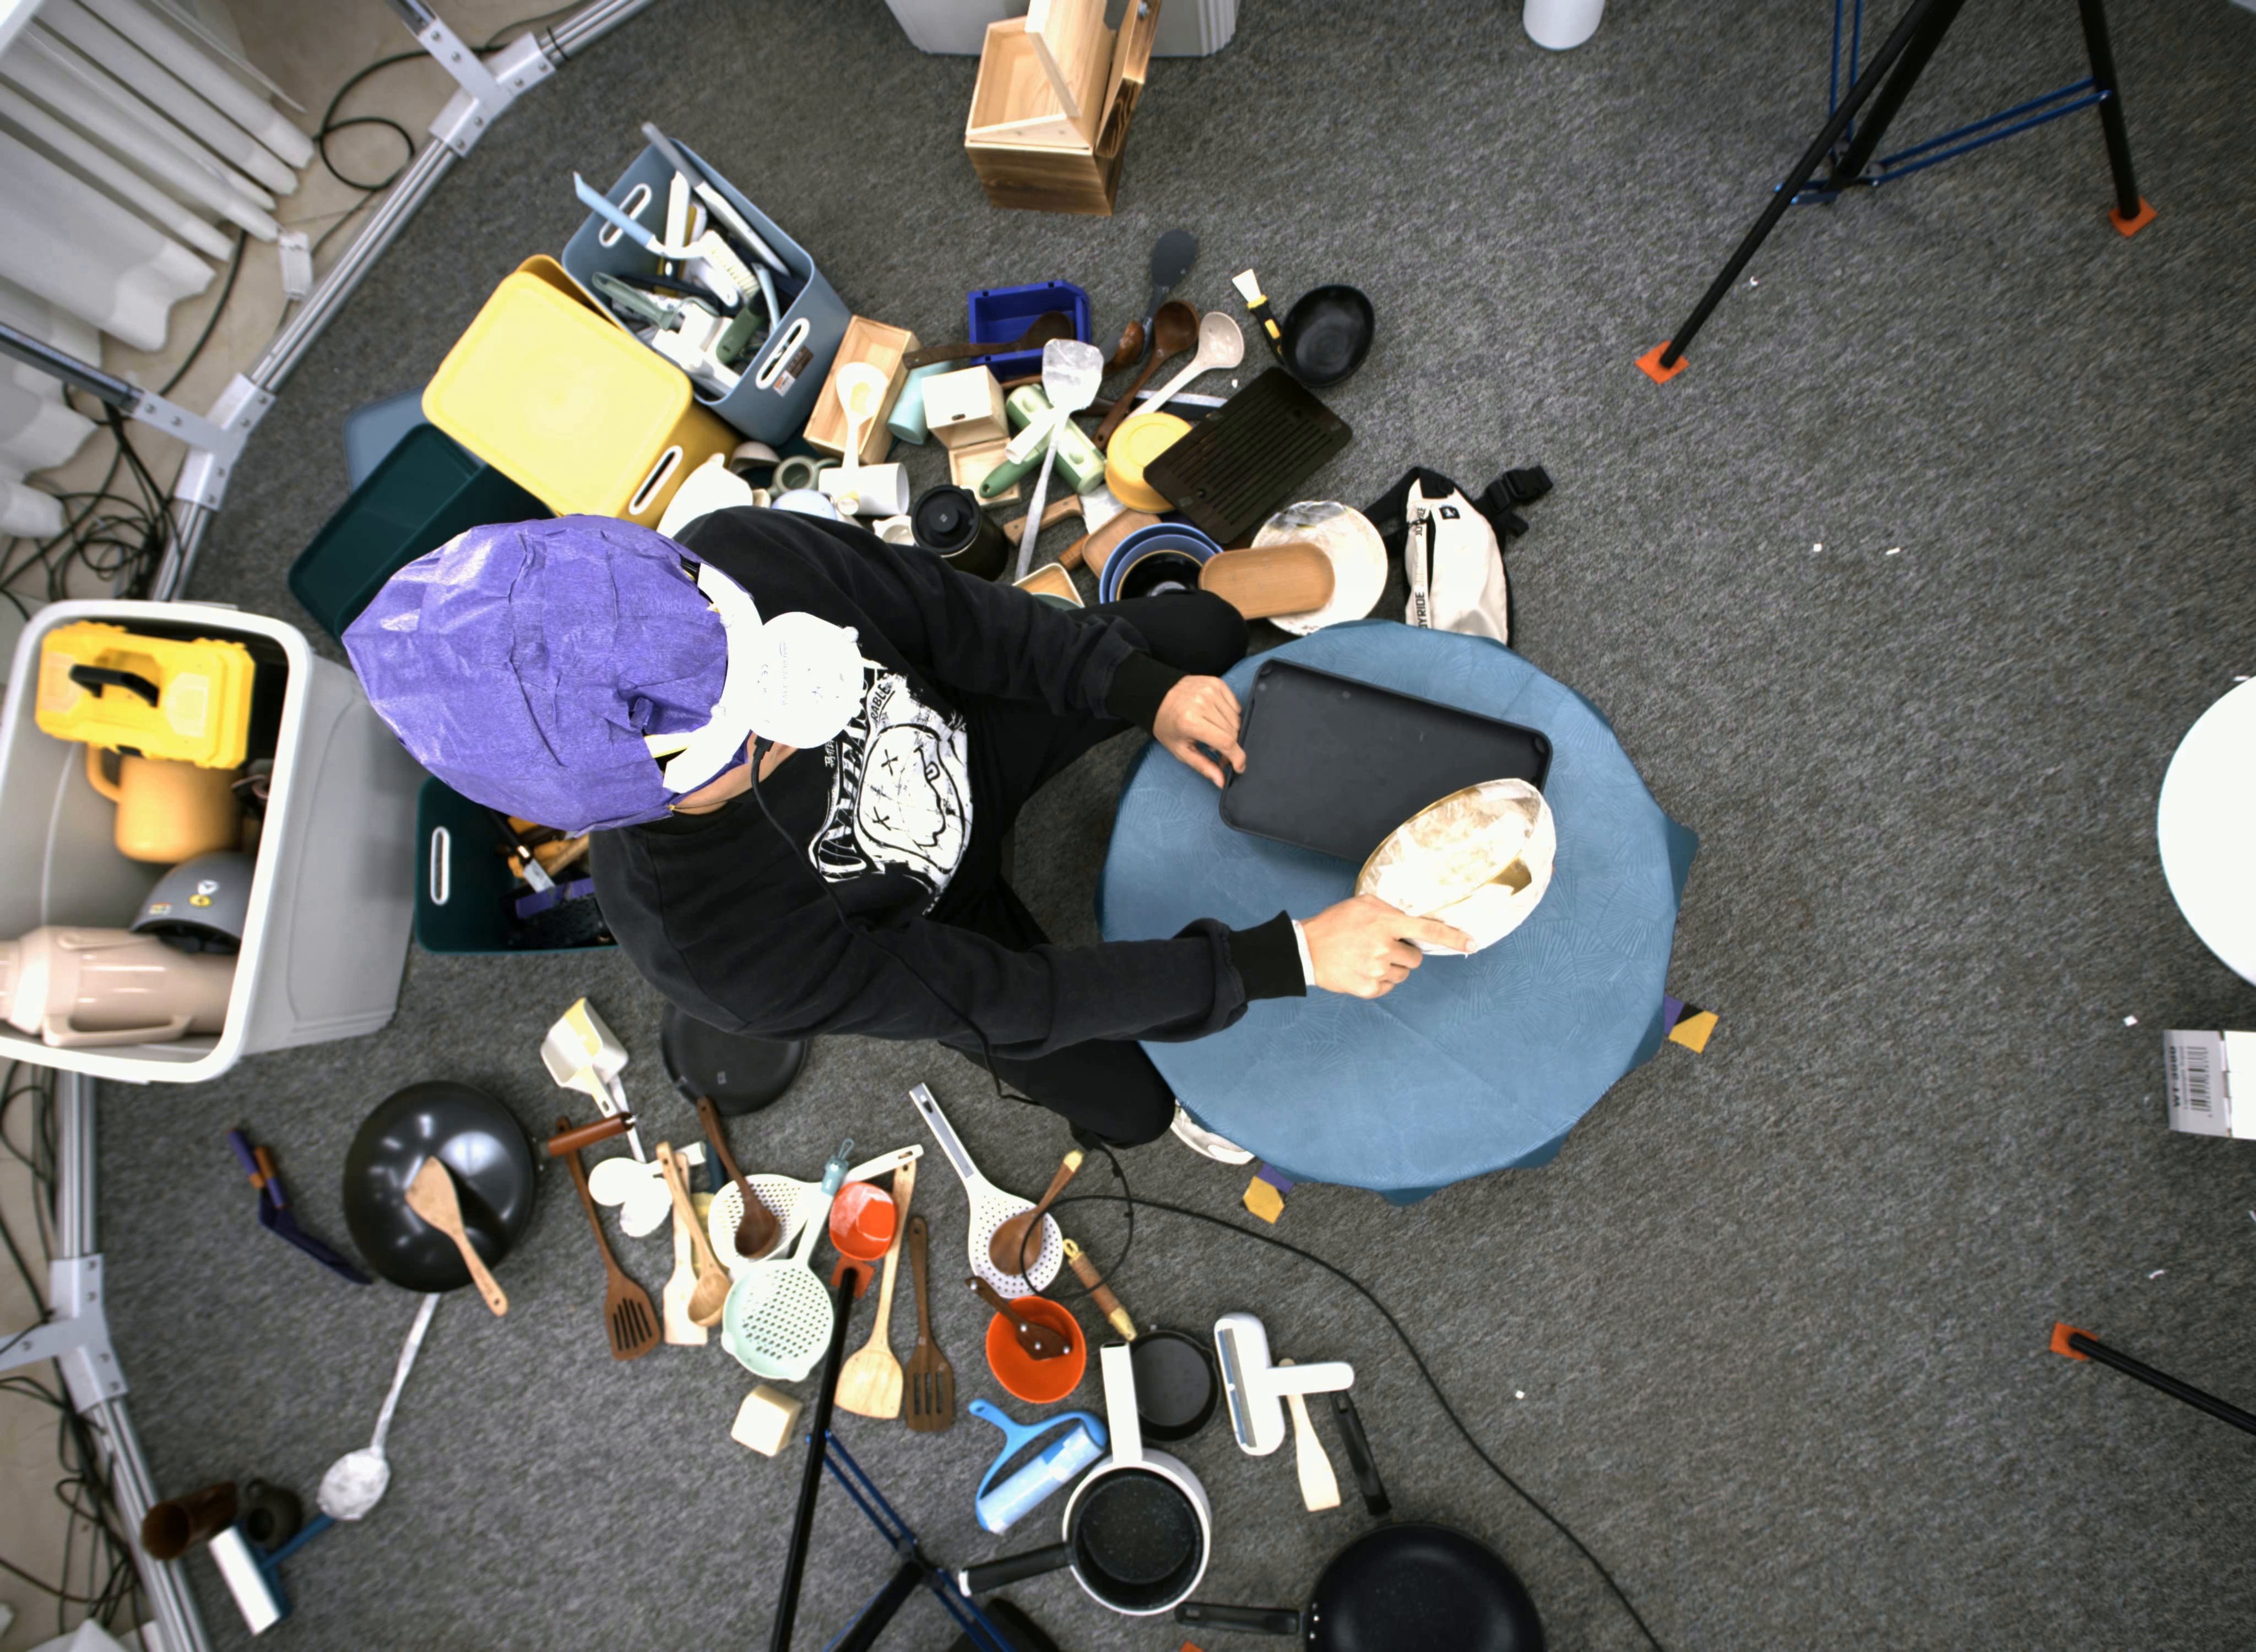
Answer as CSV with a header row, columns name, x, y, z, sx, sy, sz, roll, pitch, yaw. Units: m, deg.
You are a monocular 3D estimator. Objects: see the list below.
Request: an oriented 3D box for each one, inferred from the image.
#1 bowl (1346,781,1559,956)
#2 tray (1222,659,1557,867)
name,x,y,z,sx,sy,sz,roll,pitch,yaw
bowl,0.322,0.055,1.312,0.215,0.211,0.095,-37,110,4
tray,0.269,-0.045,1.425,0.318,0.037,0.184,16,91,1
